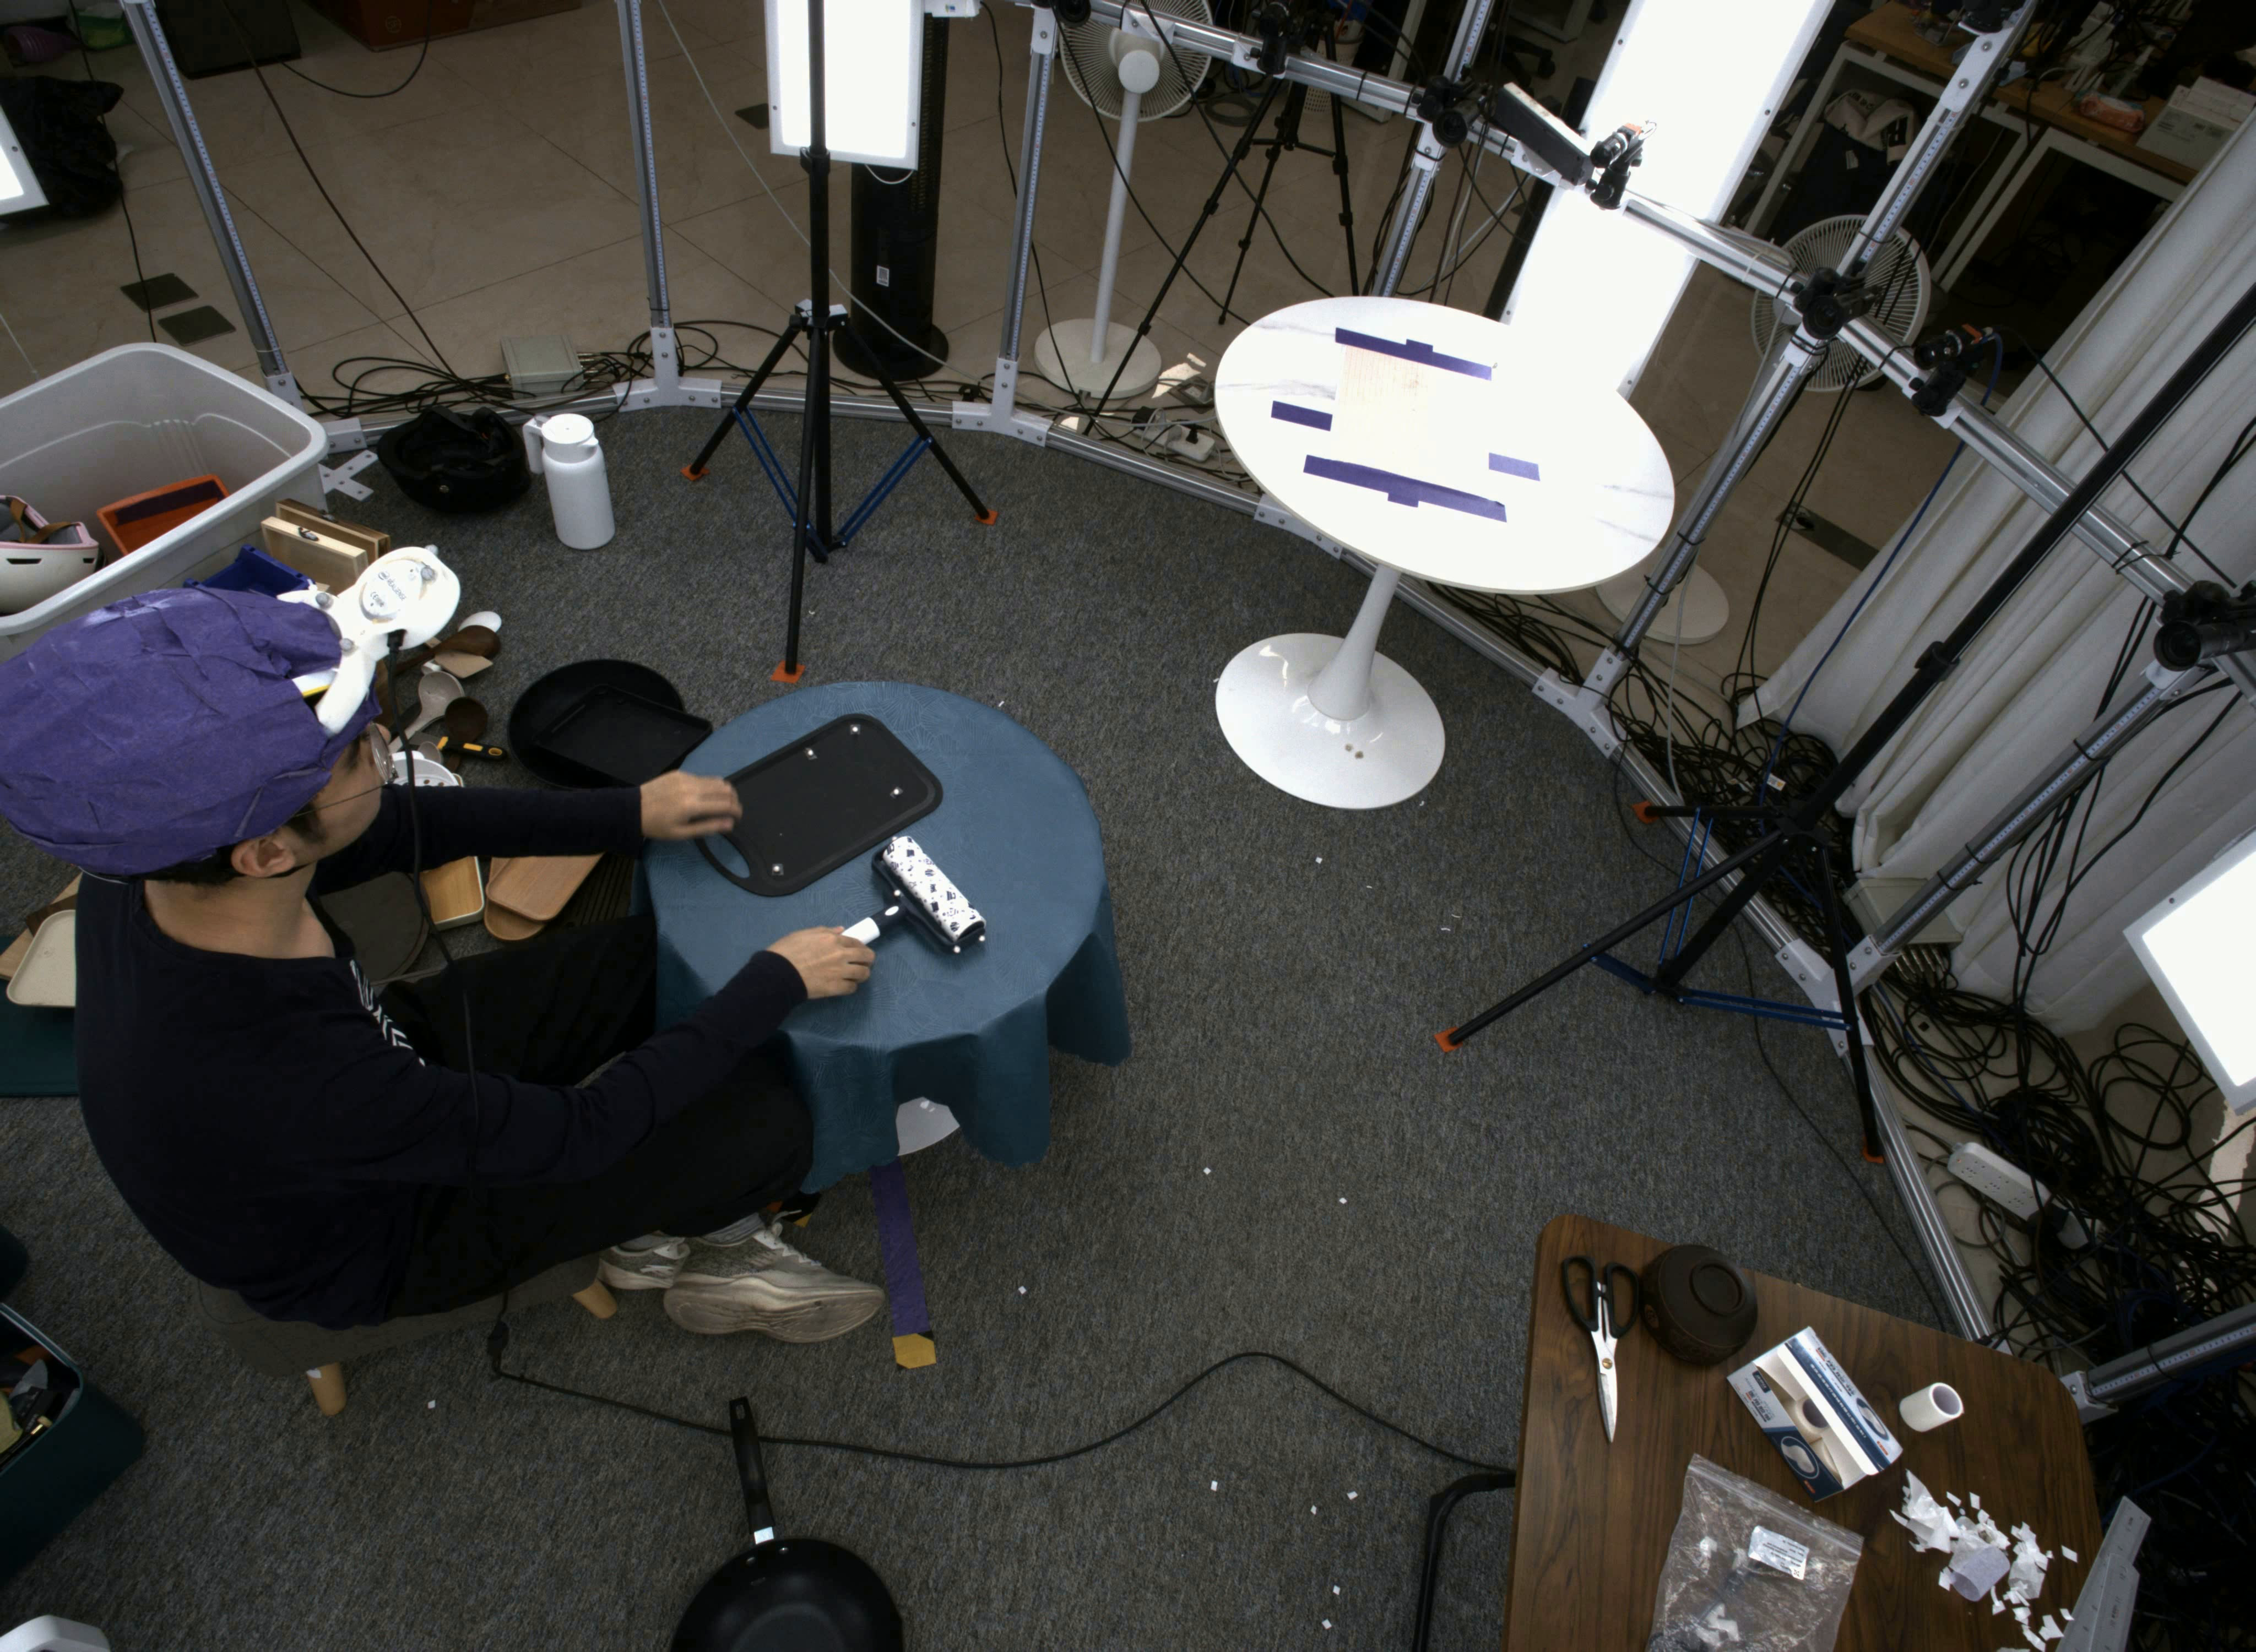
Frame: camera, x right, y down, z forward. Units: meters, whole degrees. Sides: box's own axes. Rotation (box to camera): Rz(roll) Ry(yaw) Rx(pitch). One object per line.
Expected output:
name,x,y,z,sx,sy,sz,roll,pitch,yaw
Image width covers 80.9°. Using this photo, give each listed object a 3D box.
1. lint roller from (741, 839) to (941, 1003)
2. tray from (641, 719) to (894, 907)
lint roller,-0.377,0.136,1.621,0.172,0.051,0.247,43,59,17
tray,-0.485,-0.022,1.731,0.206,0.010,0.326,42,55,17
